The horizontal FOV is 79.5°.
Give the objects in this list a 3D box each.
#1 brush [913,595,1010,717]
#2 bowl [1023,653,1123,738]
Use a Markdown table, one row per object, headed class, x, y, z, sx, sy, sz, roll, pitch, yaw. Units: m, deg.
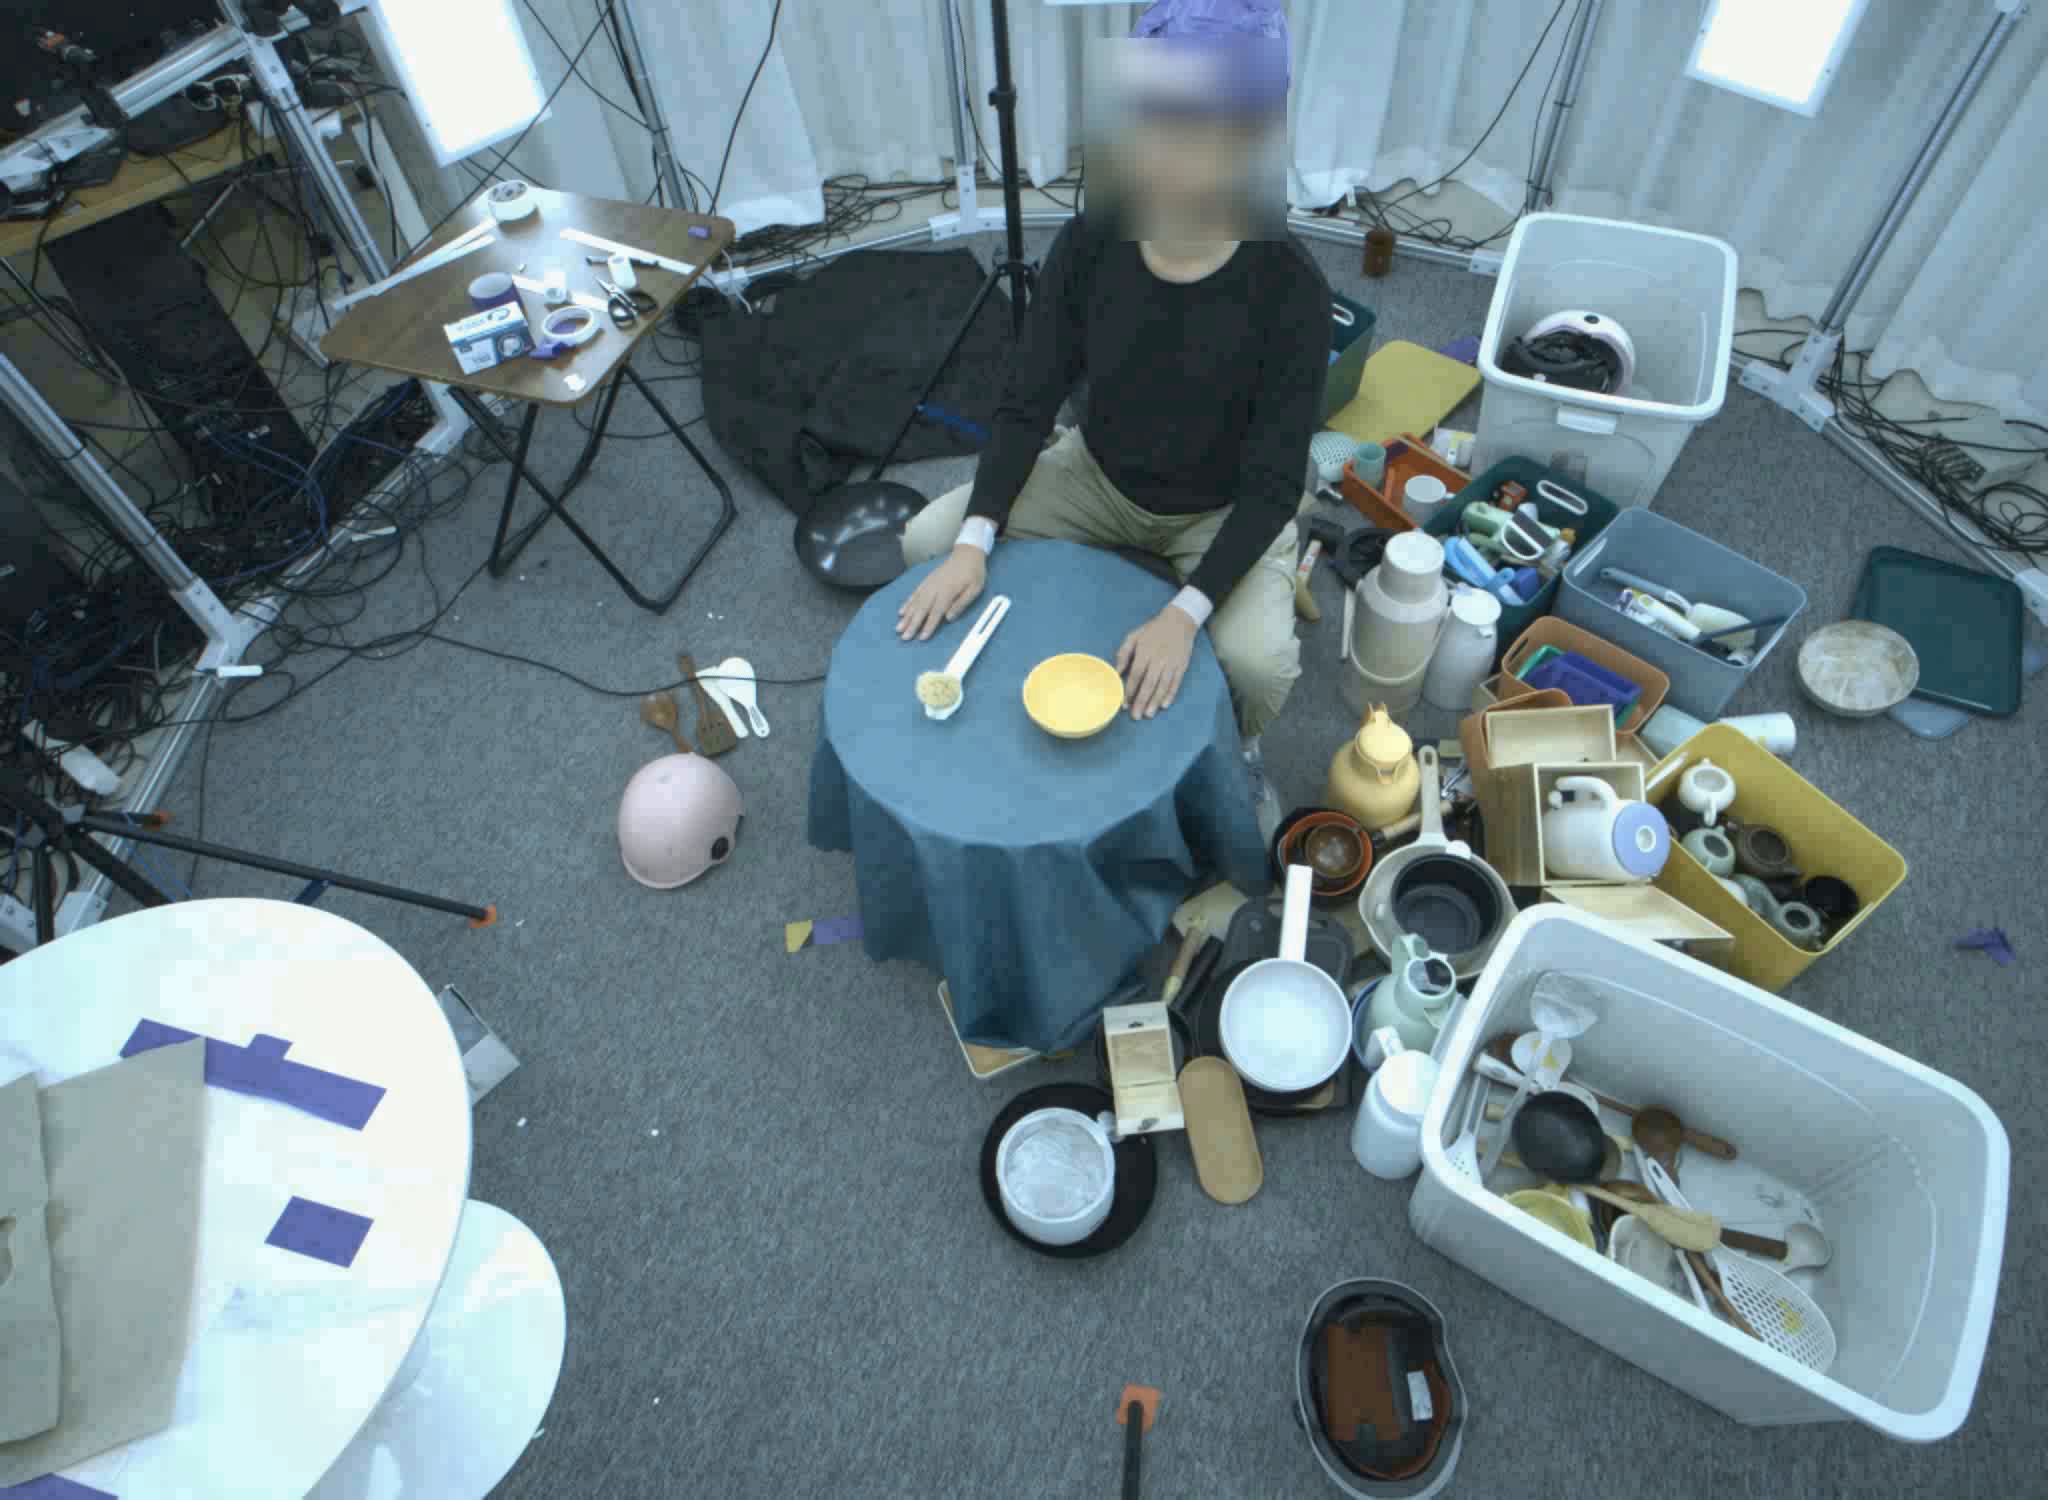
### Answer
| class | x | y | z | sx | sy | sz | roll | pitch | yaw |
| --- | --- | --- | --- | --- | --- | --- | --- | --- | --- |
| brush | -0.088 | -0.161 | 1.872 | 0.068 | 0.056 | 0.266 | 22 | 57 | 12 |
| bowl | 0.071 | -0.068 | 1.798 | 0.145 | 0.061 | 0.144 | 0 | 55 | 1 |
